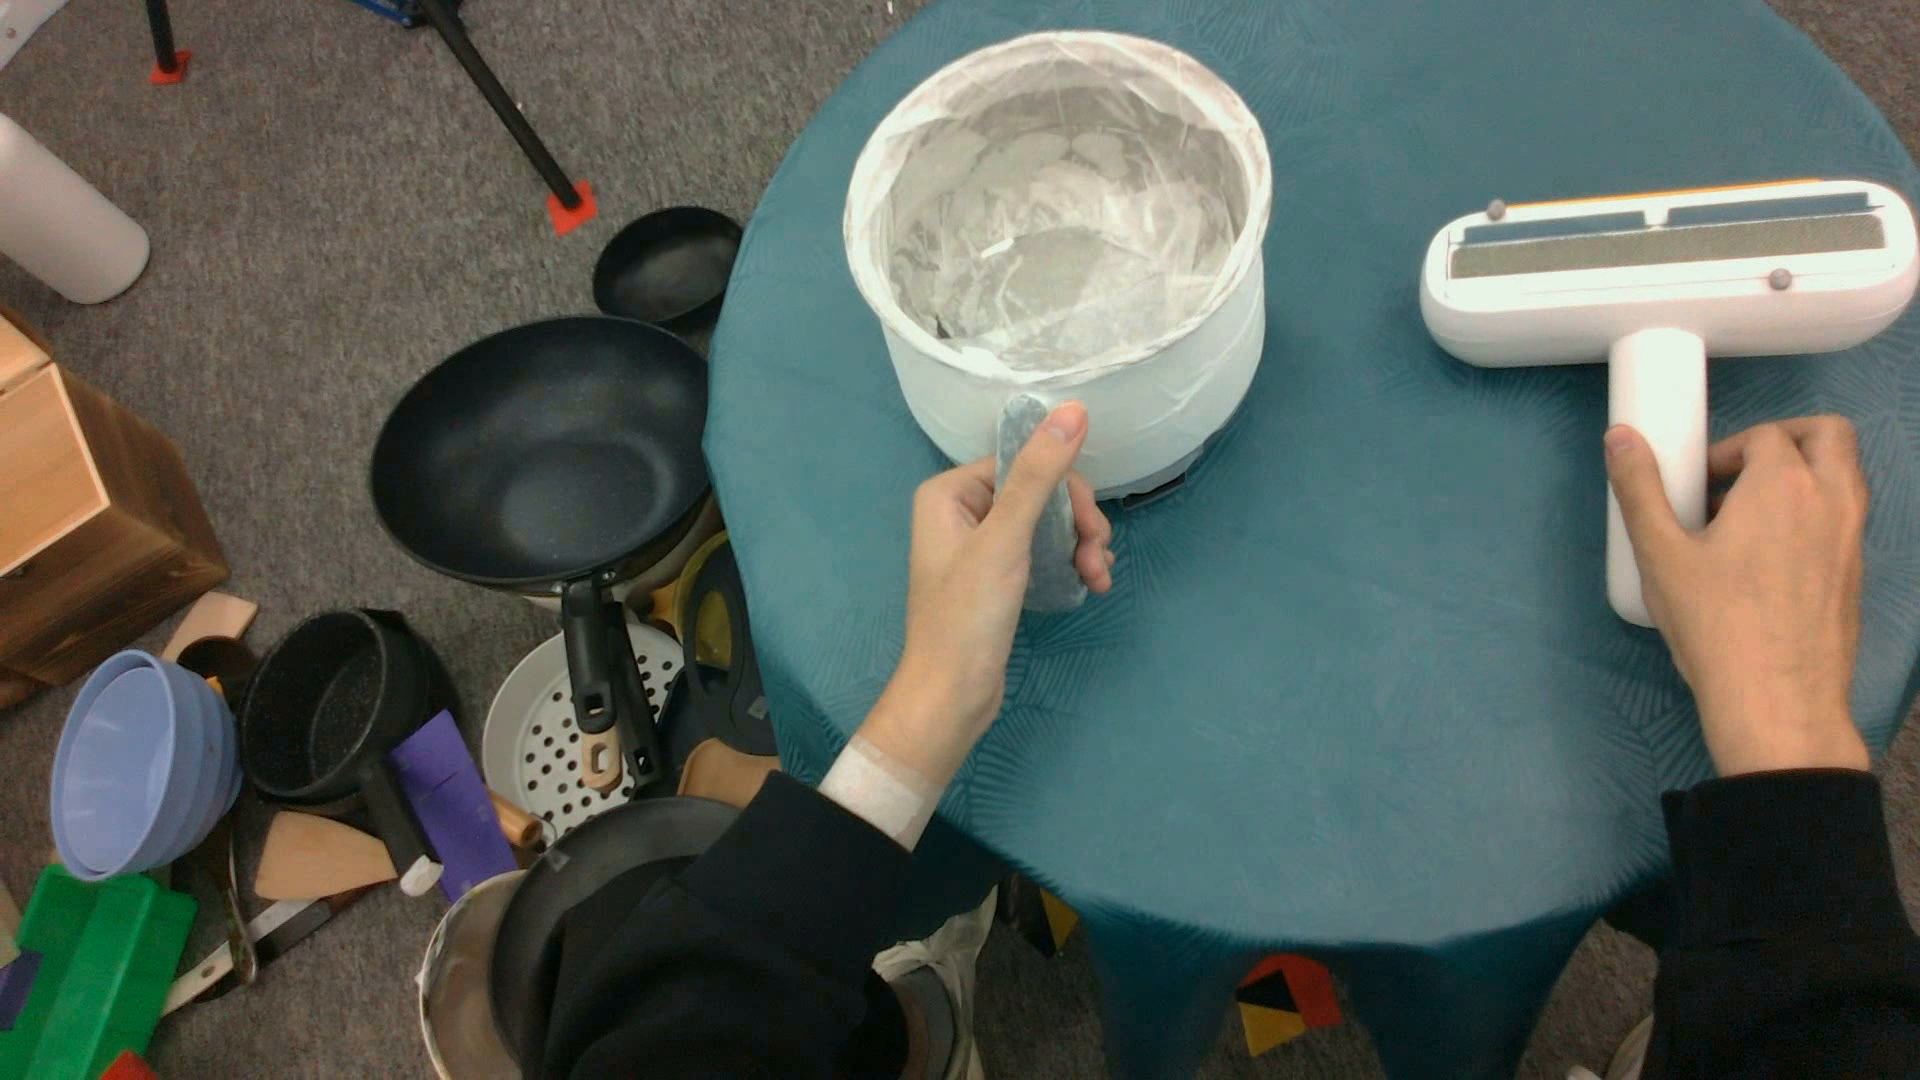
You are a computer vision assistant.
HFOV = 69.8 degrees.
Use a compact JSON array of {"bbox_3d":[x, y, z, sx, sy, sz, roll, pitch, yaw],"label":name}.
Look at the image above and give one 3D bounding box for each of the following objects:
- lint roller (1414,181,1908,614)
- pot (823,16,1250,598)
[{"bbox_3d":[0.292,-0.065,0.594,0.192,0.074,0.193,6,69,20],"label":"lint roller"},{"bbox_3d":[0.038,-0.098,0.613,0.178,0.136,0.234,1,66,12],"label":"pot"}]
